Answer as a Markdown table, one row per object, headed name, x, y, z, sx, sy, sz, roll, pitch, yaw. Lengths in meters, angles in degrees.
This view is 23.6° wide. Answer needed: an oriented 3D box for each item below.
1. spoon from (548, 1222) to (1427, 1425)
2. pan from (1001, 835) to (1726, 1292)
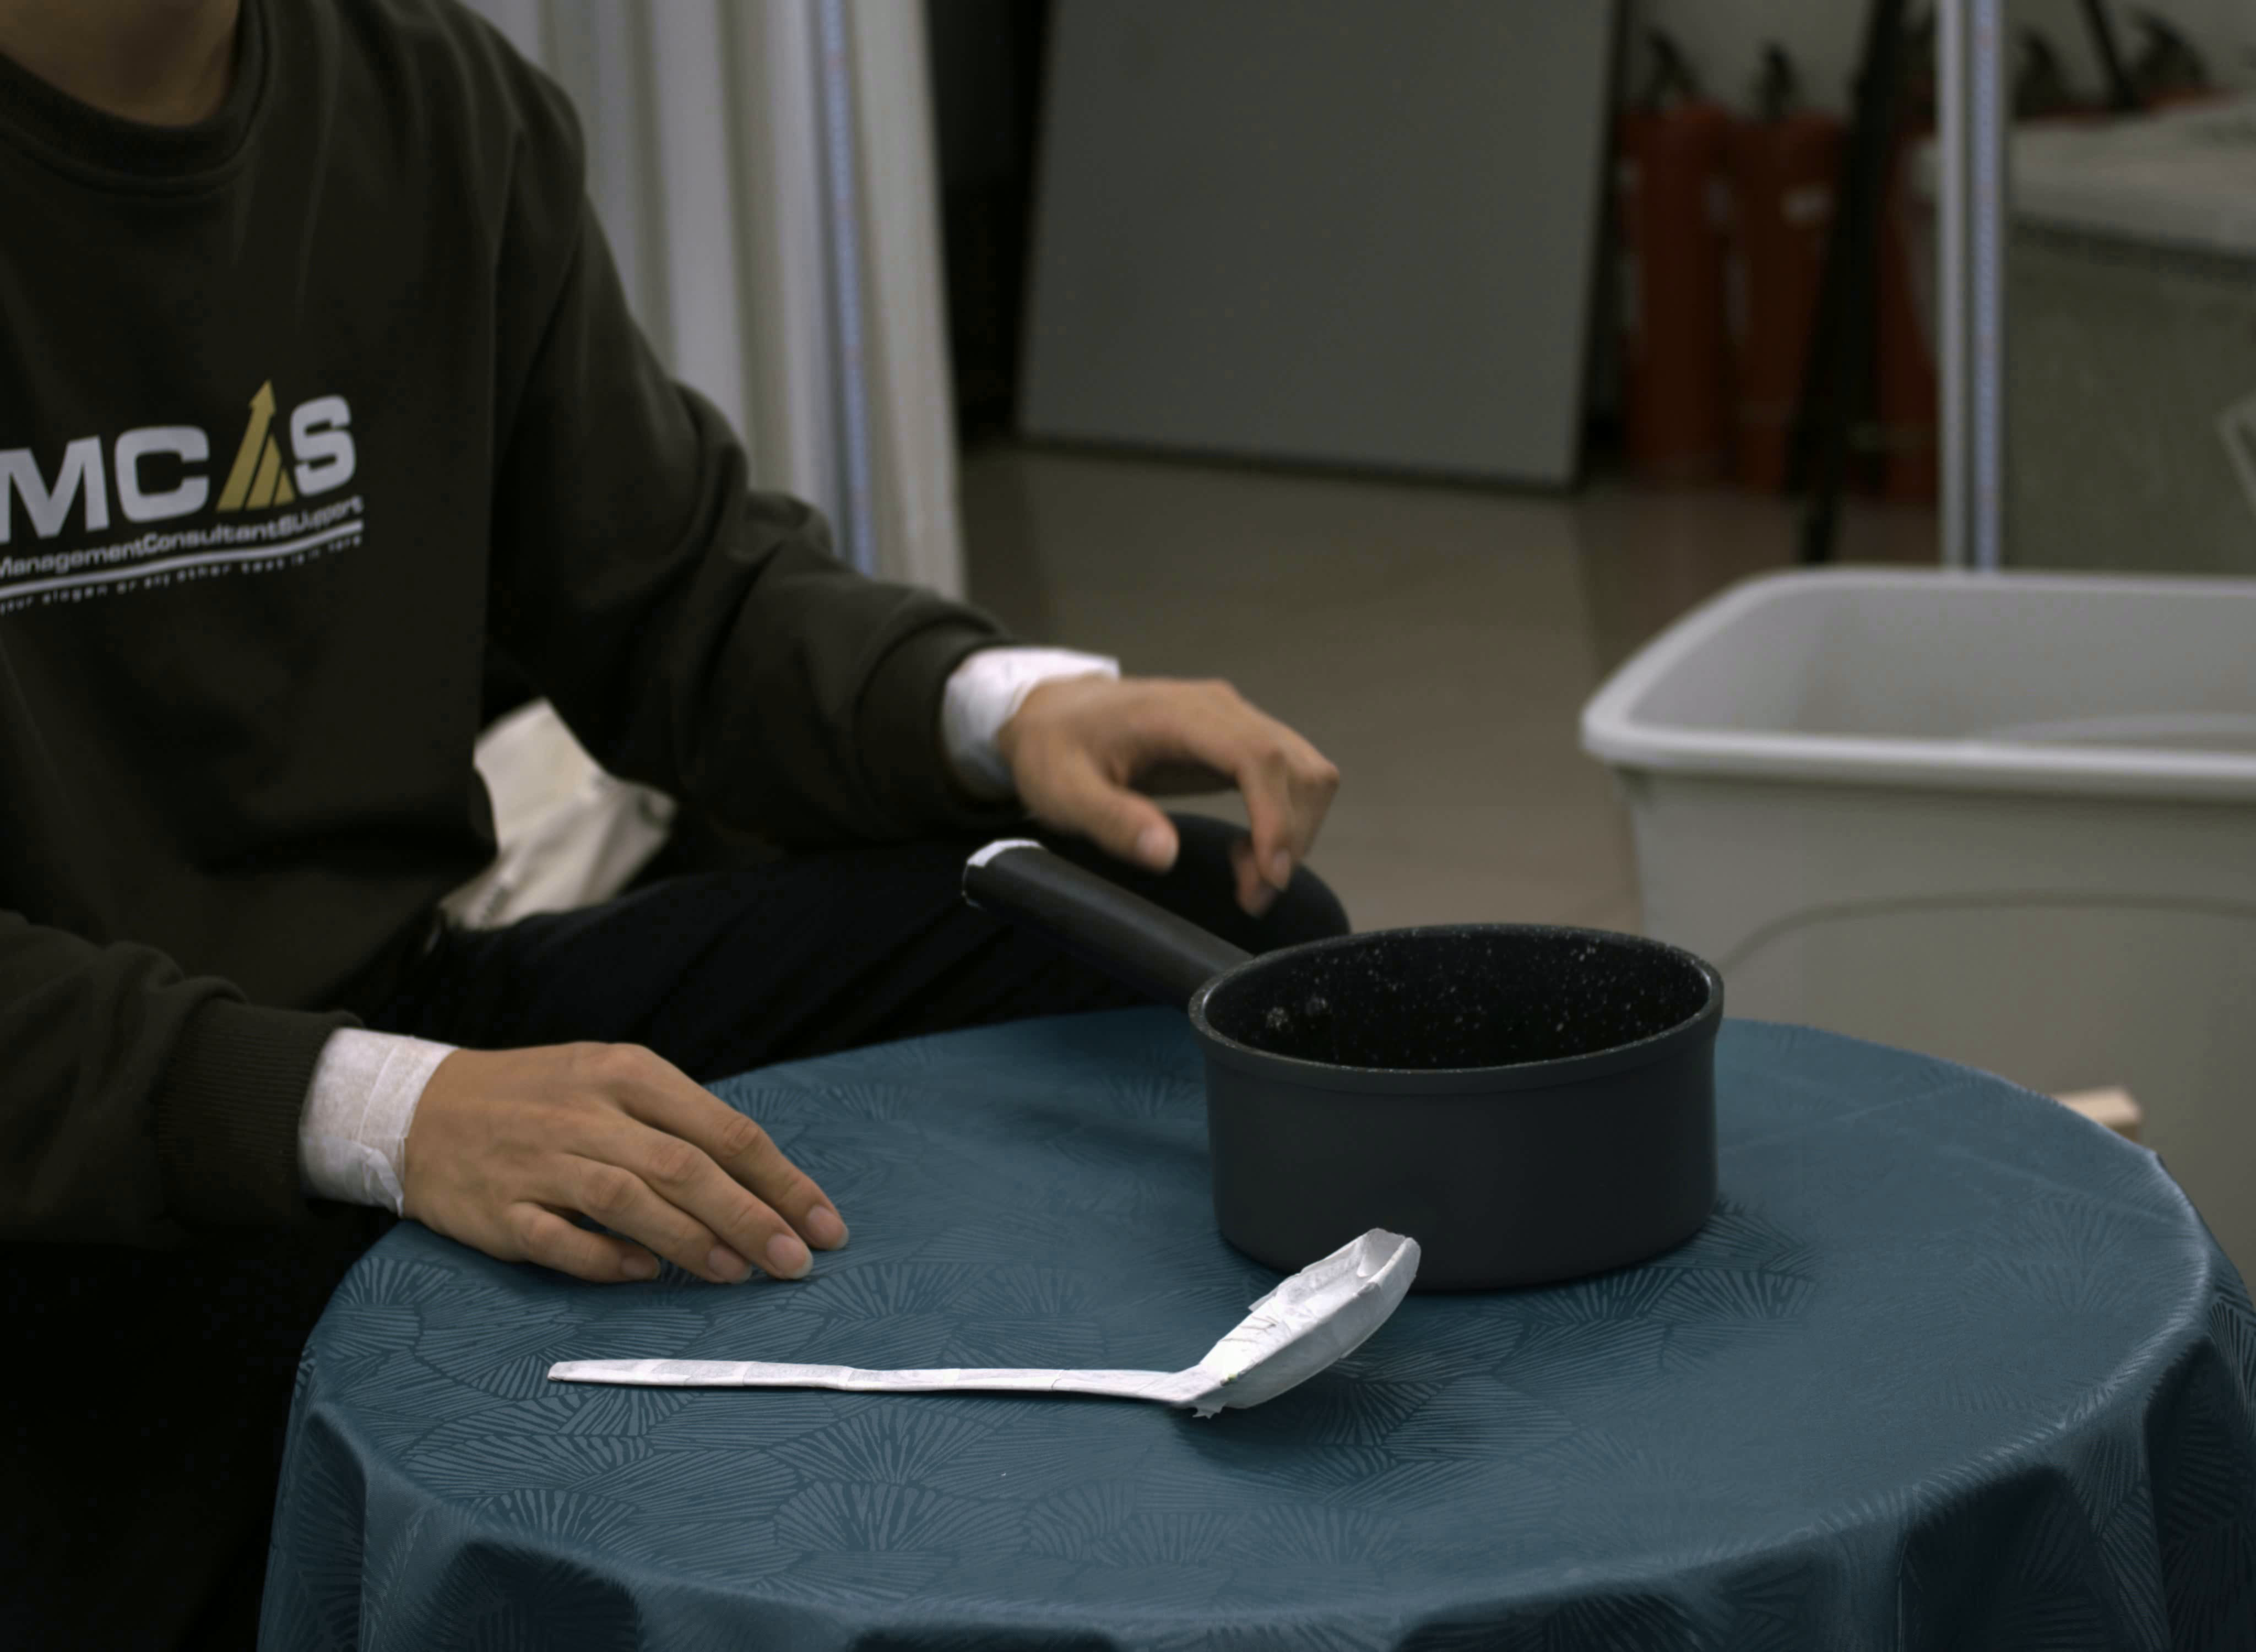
| name | x | y | z | sx | sy | sz | roll | pitch | yaw |
| --- | --- | --- | --- | --- | --- | --- | --- | --- | --- |
| spoon | -0.044 | 0.144 | 1.601 | 0.277 | 0.060 | 0.099 | 0 | 3 | 19 |
| pan | 0.061 | 0.073 | 1.777 | 0.168 | 0.087 | 0.332 | -12 | 16 | -33 |
